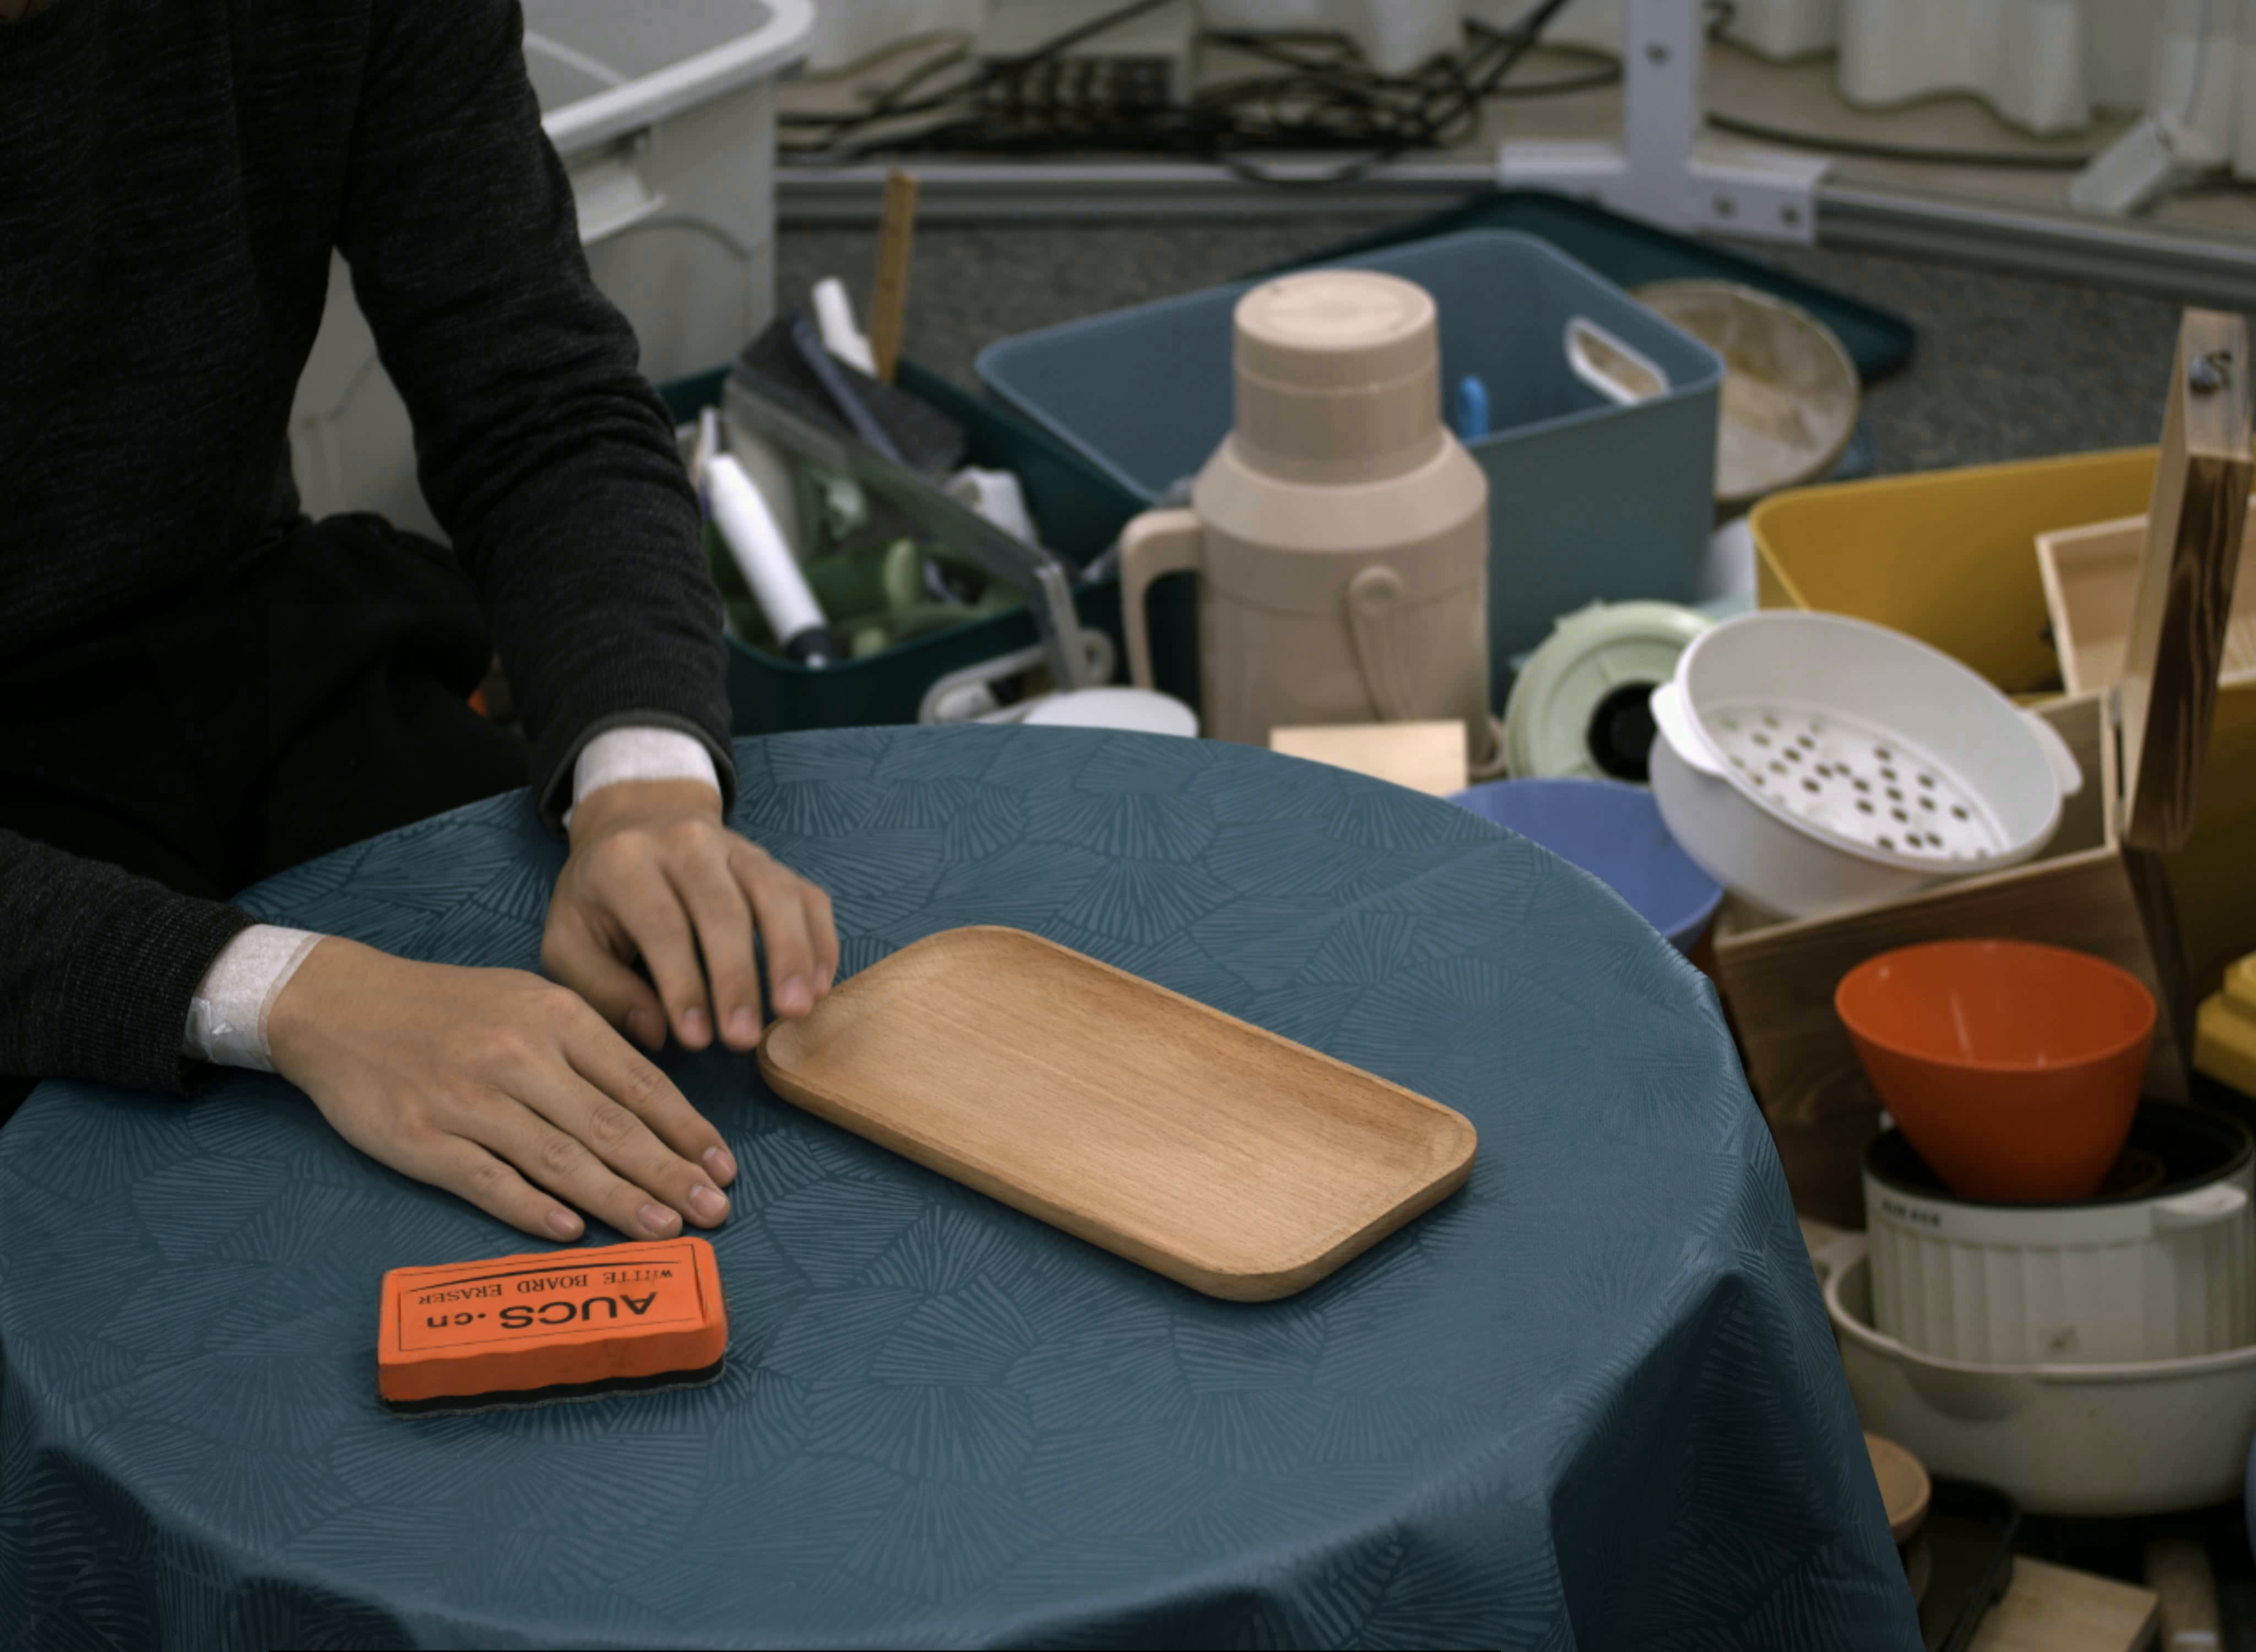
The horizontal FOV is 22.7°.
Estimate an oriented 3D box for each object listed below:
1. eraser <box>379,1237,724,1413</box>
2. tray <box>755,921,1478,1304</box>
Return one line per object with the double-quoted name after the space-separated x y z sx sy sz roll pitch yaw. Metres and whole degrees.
-0.183 0.159 1.781 0.107 0.022 0.060 -5 27 -4 "eraser"
-0.006 0.095 1.895 0.250 0.022 0.132 21 34 40 "tray"
